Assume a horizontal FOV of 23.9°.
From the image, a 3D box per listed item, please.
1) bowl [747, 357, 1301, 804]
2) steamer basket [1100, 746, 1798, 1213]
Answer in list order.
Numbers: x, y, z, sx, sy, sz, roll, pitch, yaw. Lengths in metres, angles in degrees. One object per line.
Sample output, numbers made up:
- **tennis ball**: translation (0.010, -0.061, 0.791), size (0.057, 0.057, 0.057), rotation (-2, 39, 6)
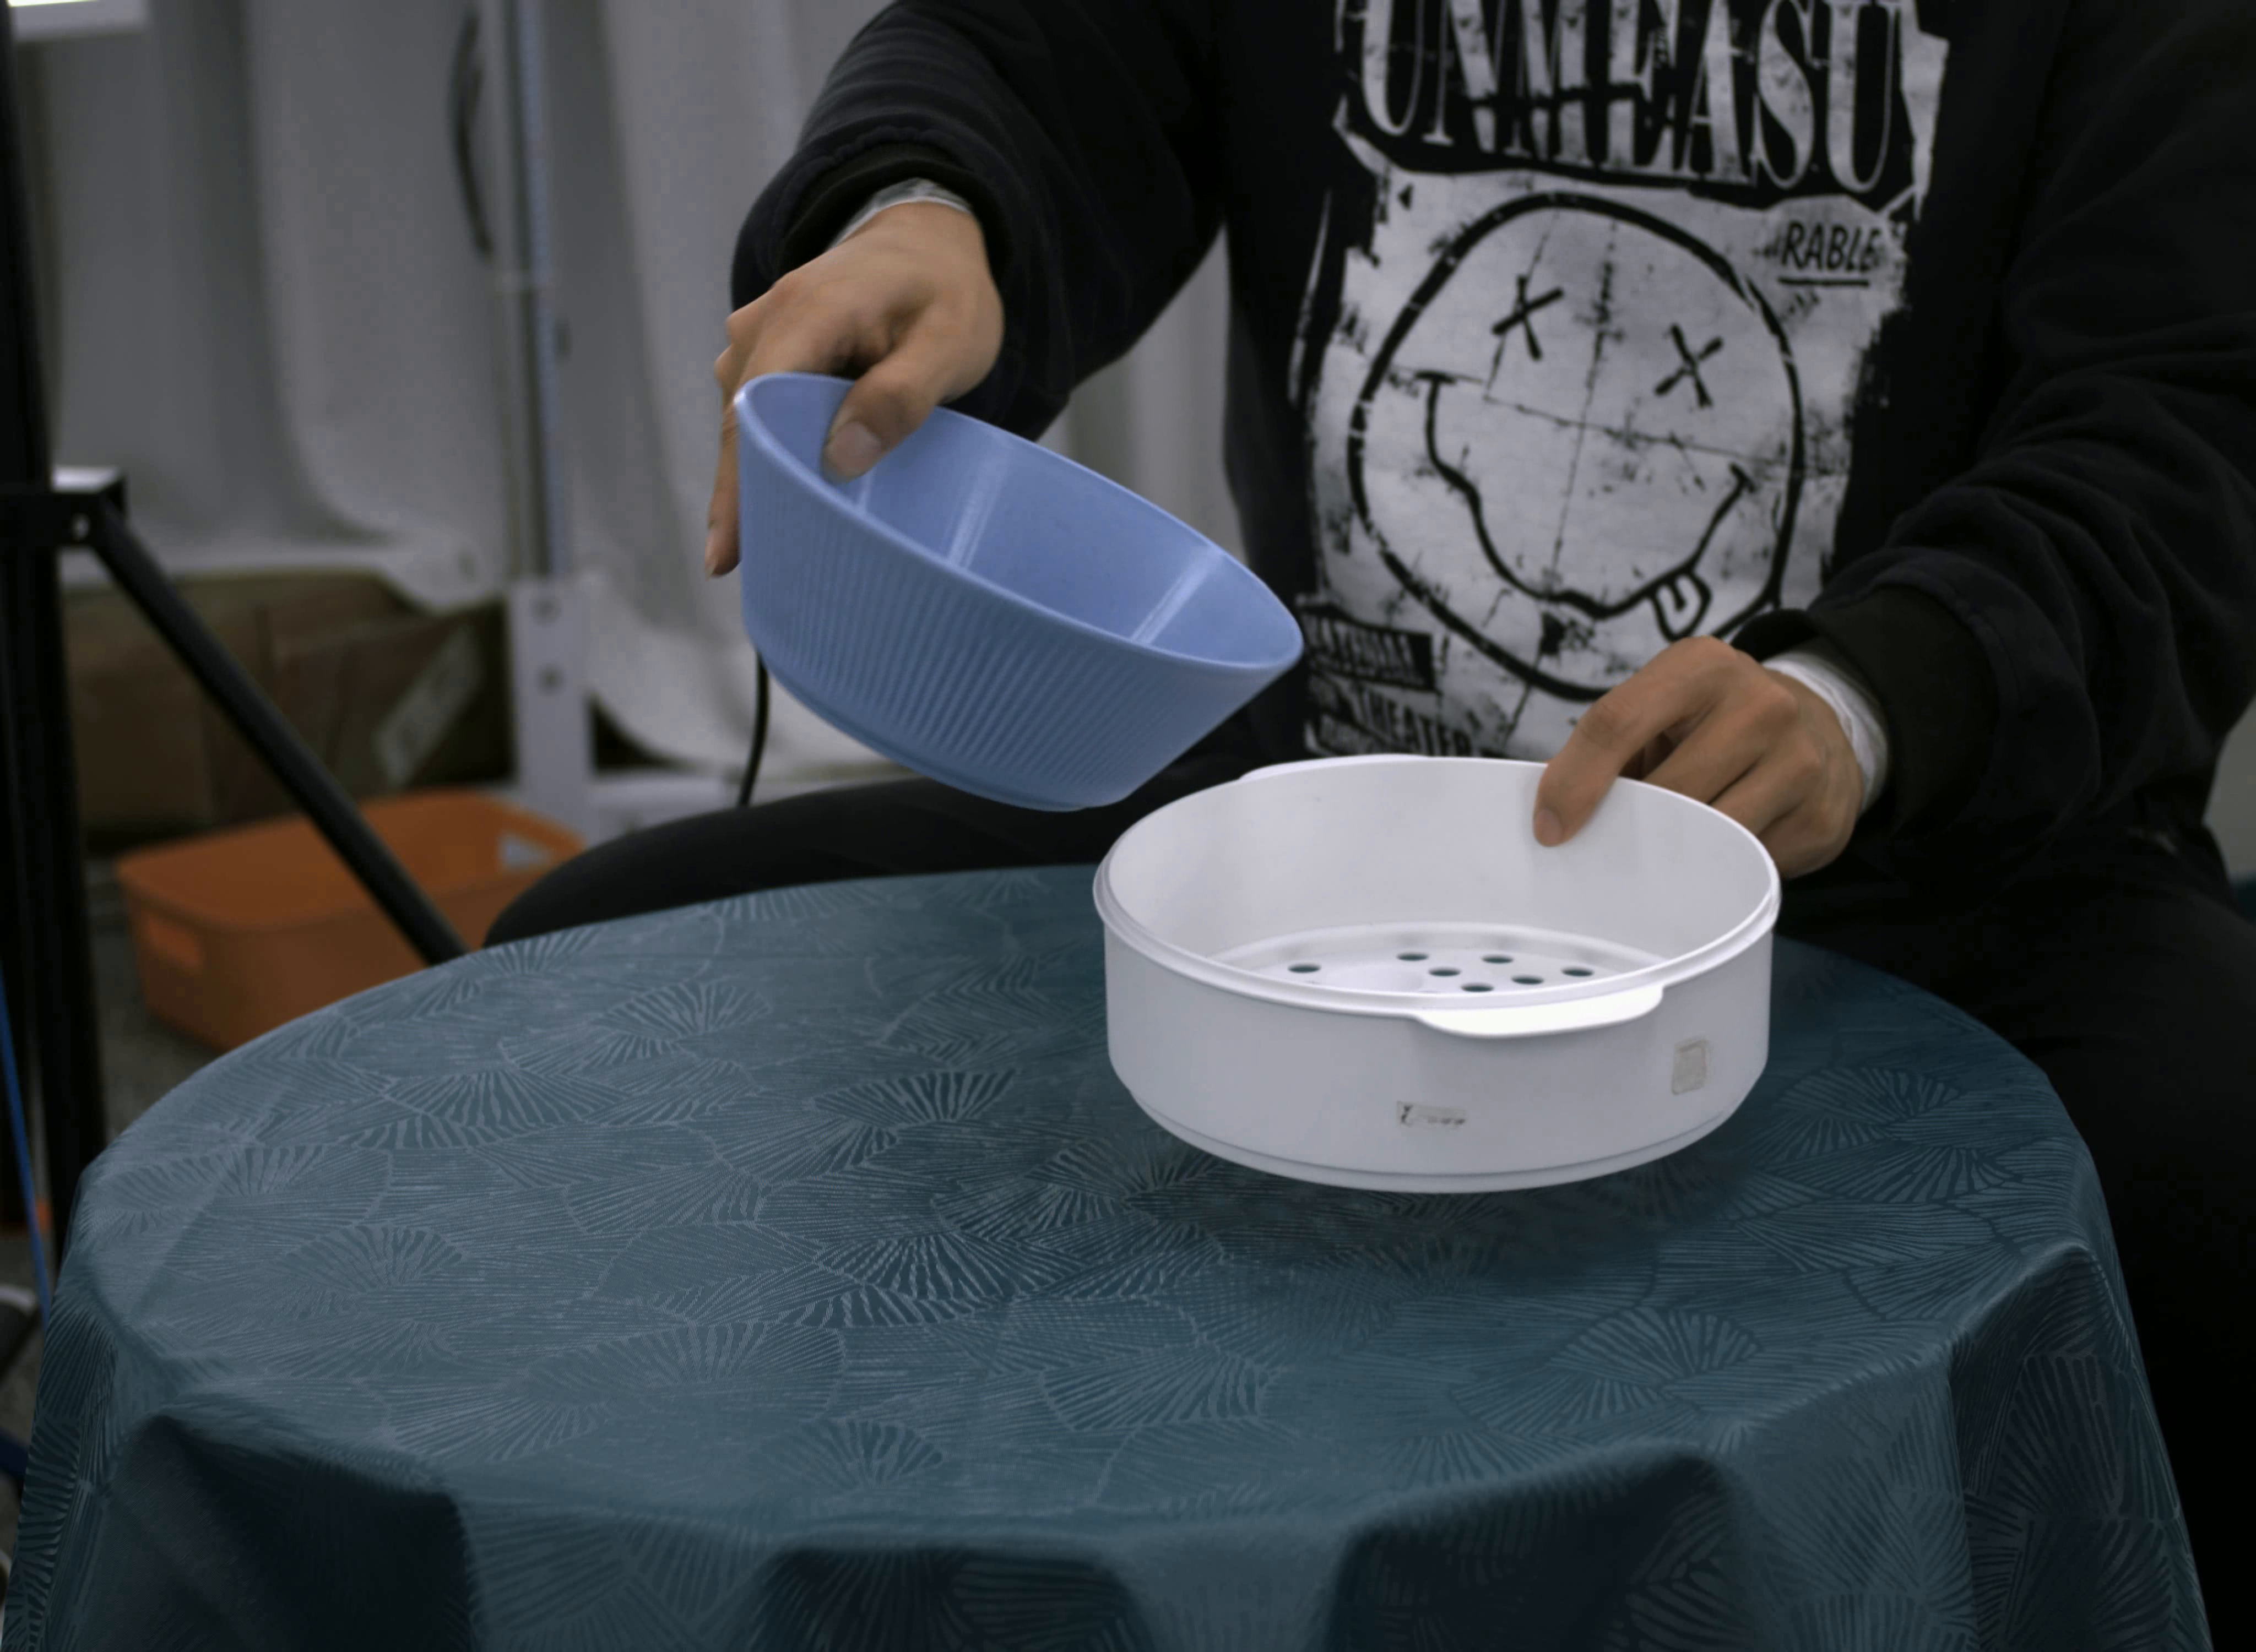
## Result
- **bowl**: translation (-0.042, -0.063, 1.524), size (0.174, 0.070, 0.177), rotation (25, 16, -9)
- **steamer basket**: translation (0.093, 0.045, 1.543), size (0.199, 0.069, 0.234), rotation (-6, 23, -12)
